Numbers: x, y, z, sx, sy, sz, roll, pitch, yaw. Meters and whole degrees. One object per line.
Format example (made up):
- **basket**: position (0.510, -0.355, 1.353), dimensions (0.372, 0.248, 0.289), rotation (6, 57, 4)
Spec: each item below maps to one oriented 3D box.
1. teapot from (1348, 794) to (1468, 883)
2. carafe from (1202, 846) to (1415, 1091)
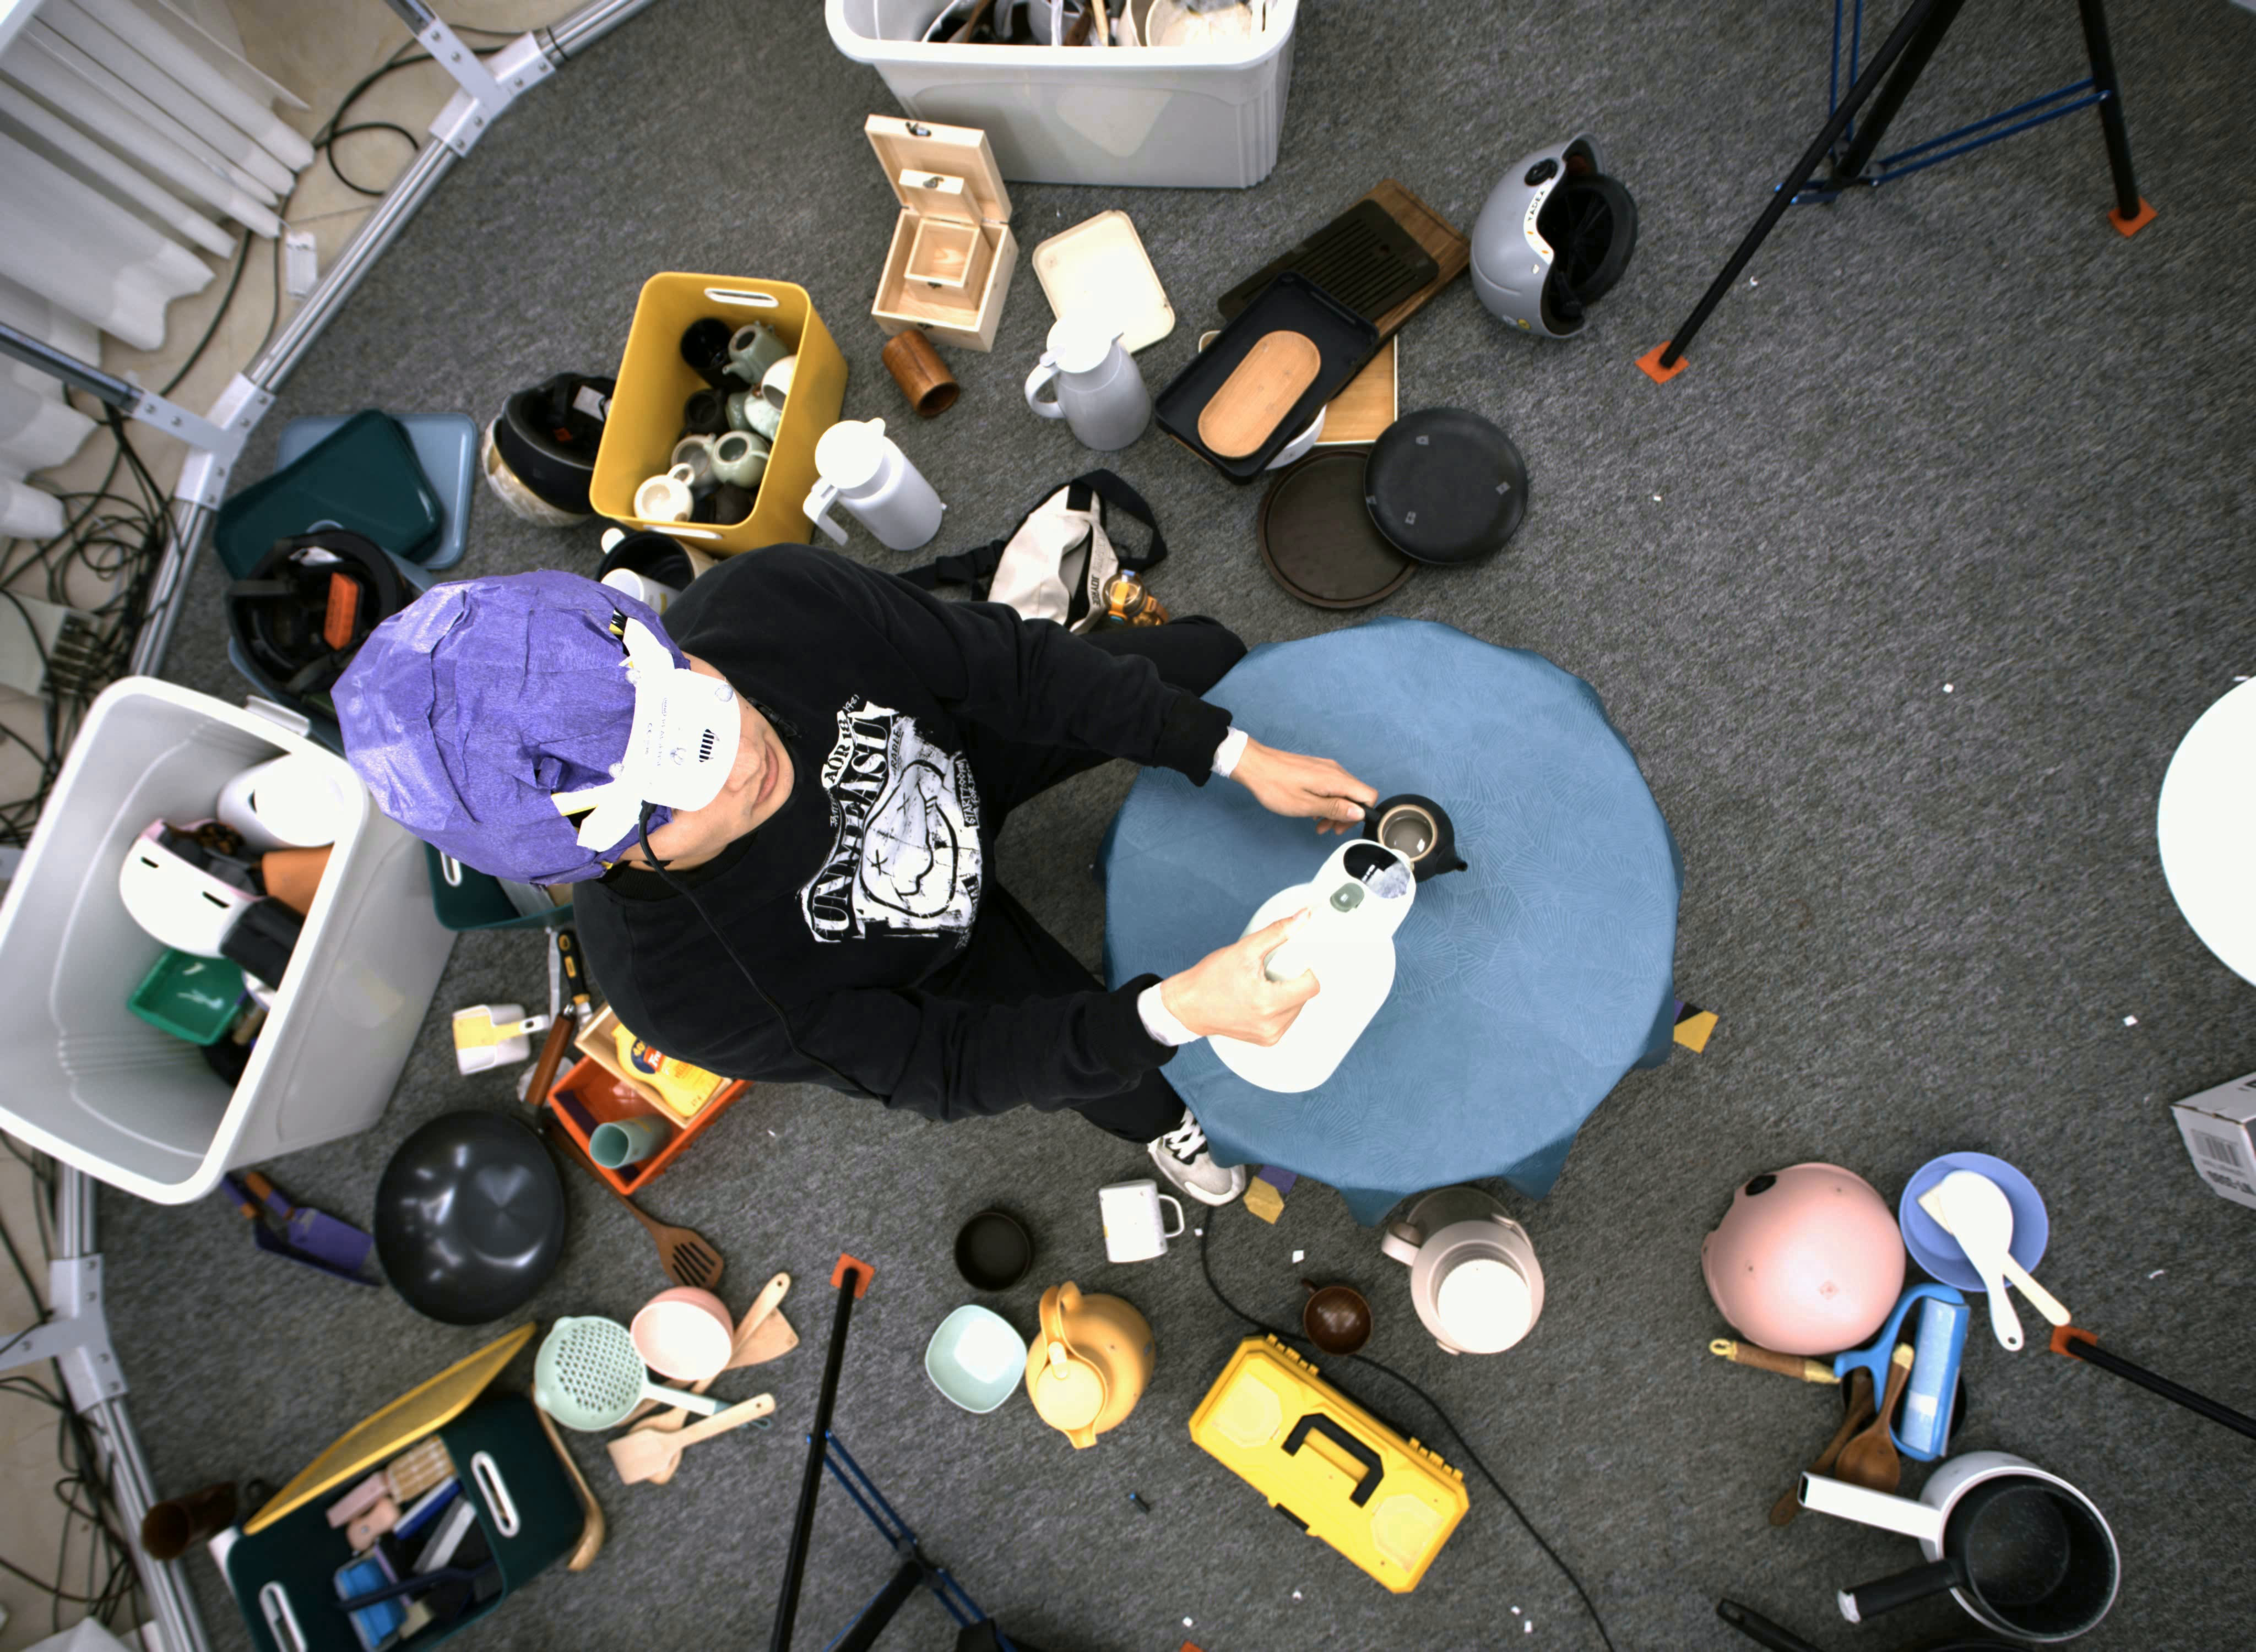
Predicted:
- **teapot**: position (0.279, 0.010, 1.374), dimensions (0.133, 0.053, 0.091), rotation (31, 89, 15)
- **carafe**: position (0.164, 0.130, 1.261), dimensions (0.143, 0.263, 0.183), rotation (42, 51, 15)
